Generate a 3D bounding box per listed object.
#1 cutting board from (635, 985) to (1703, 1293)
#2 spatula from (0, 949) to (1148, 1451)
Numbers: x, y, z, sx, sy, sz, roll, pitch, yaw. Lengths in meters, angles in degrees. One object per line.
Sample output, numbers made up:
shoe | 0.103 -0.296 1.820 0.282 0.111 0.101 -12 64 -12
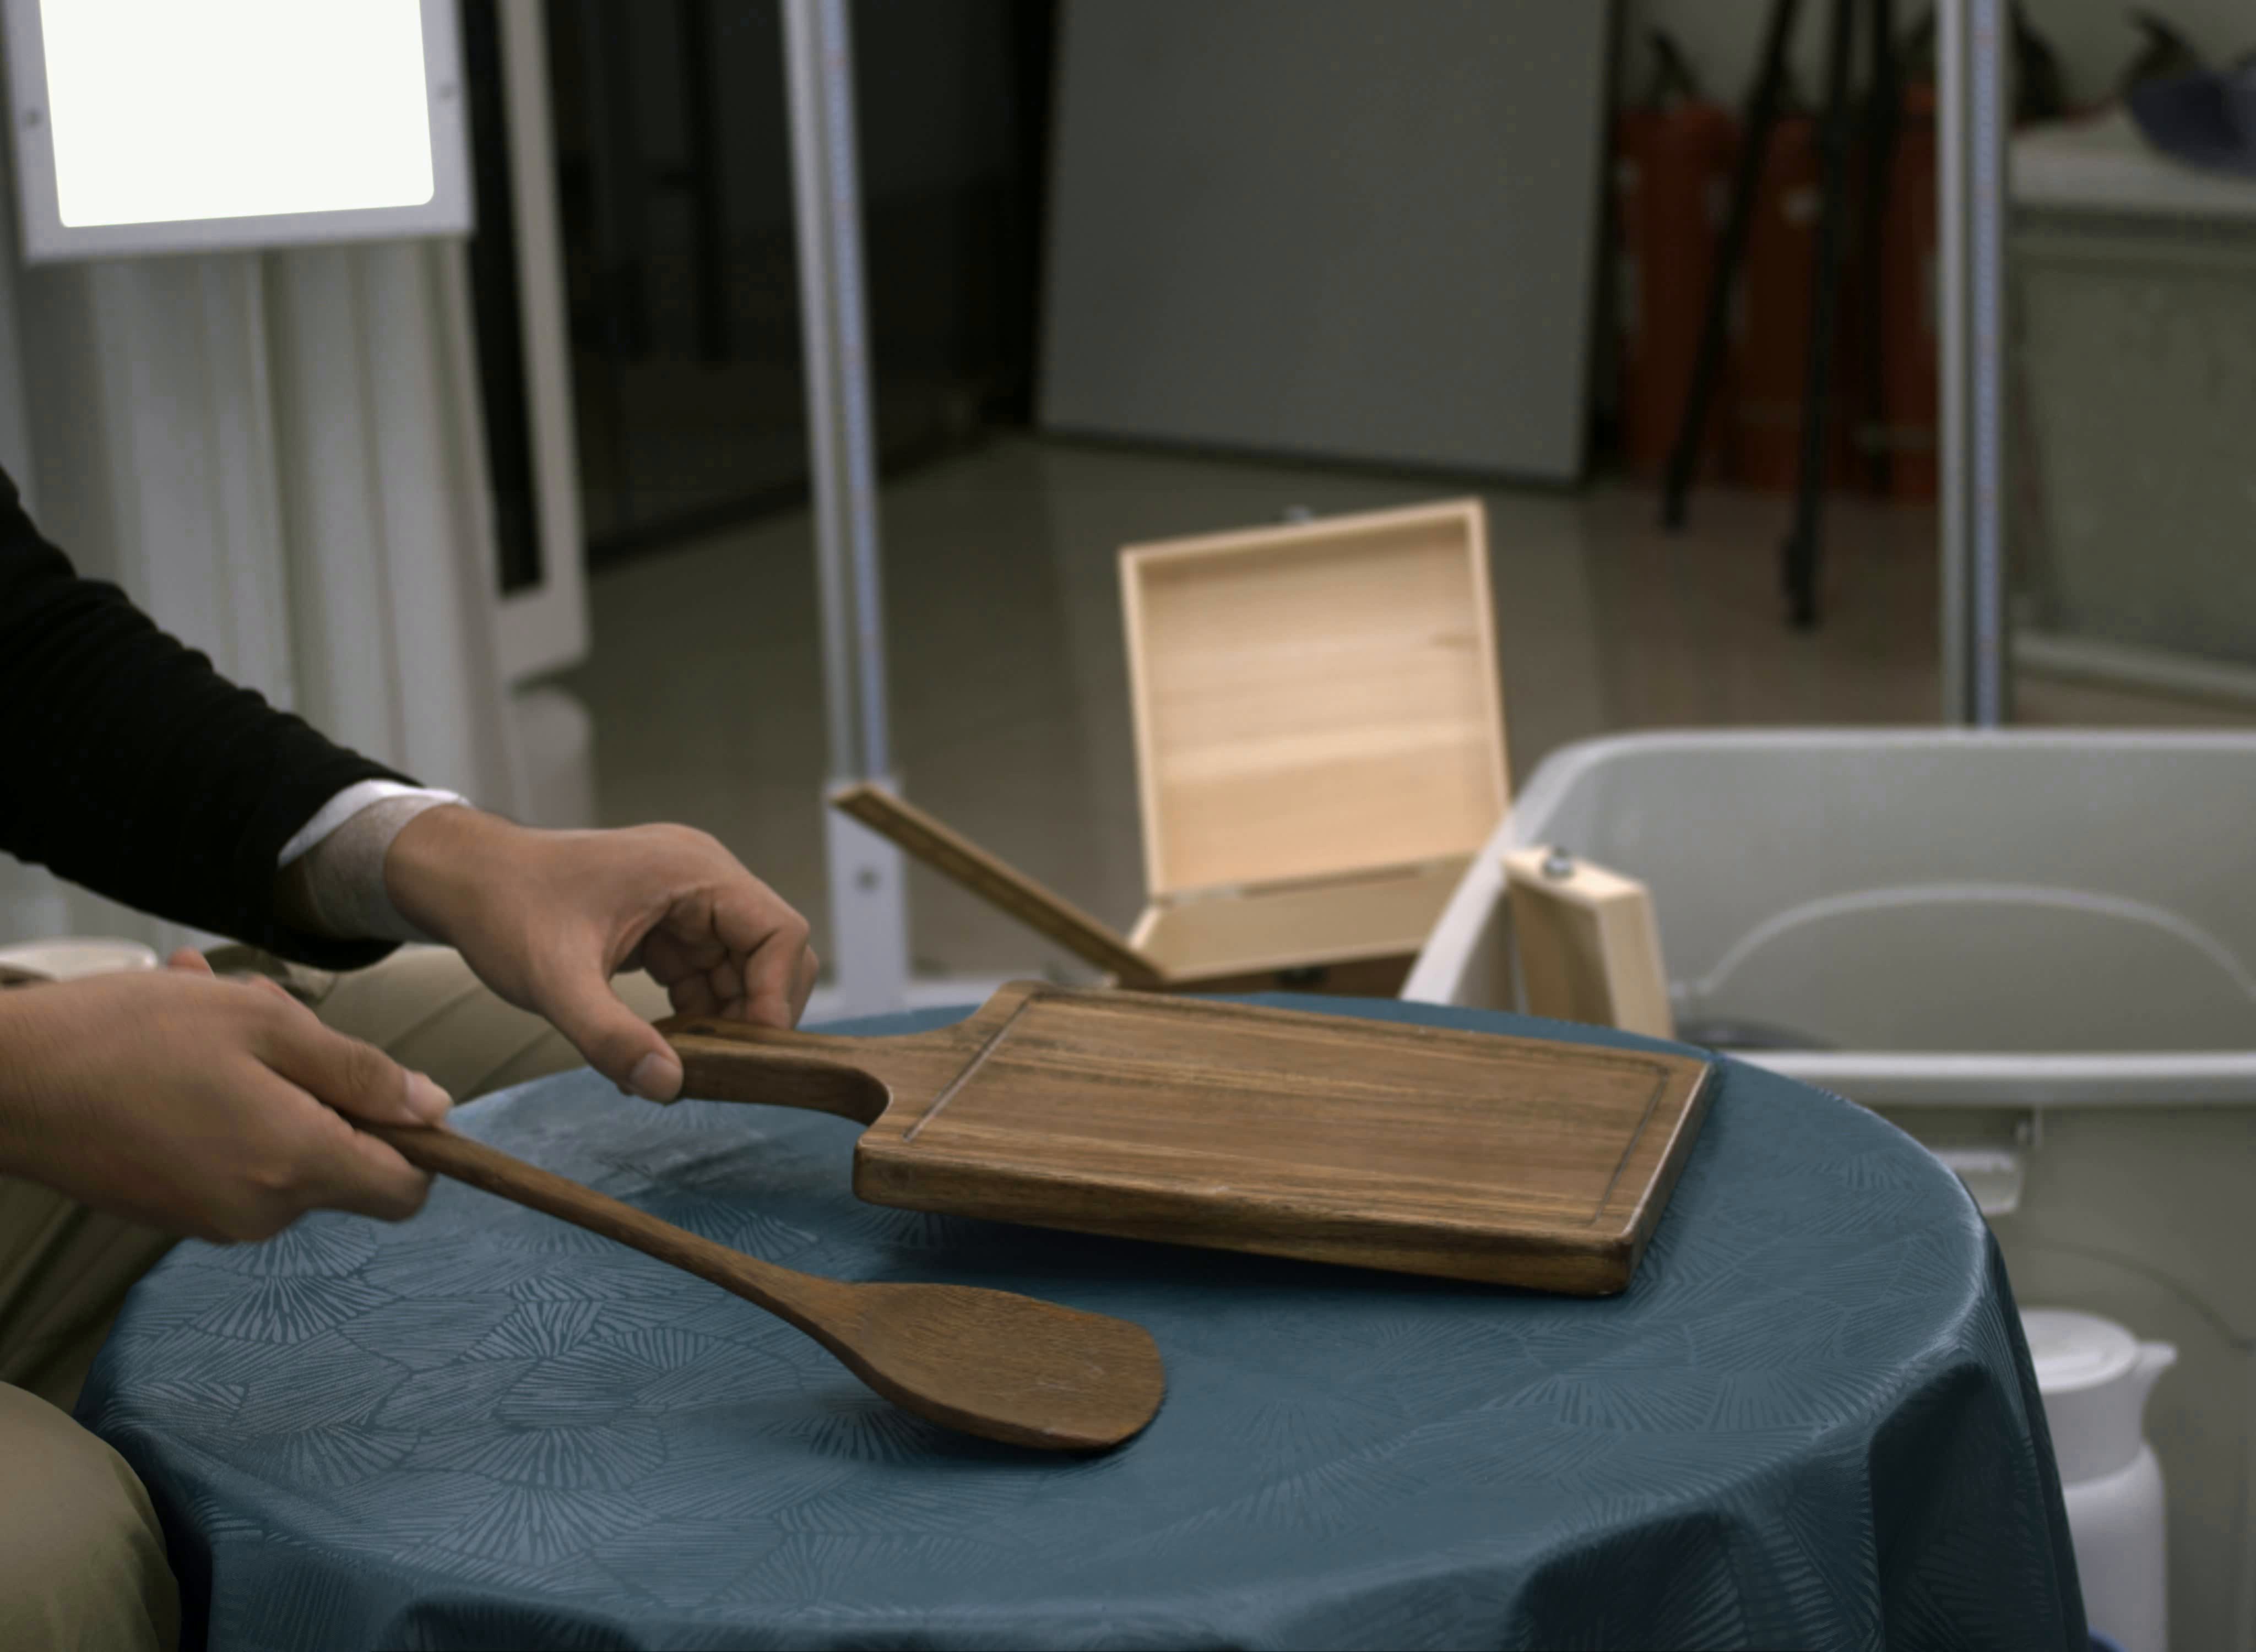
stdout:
cutting board | 0.007 0.094 1.763 0.350 0.023 0.199 6 16 14
spatula | -0.174 0.105 1.588 0.383 0.016 0.095 21 19 6
